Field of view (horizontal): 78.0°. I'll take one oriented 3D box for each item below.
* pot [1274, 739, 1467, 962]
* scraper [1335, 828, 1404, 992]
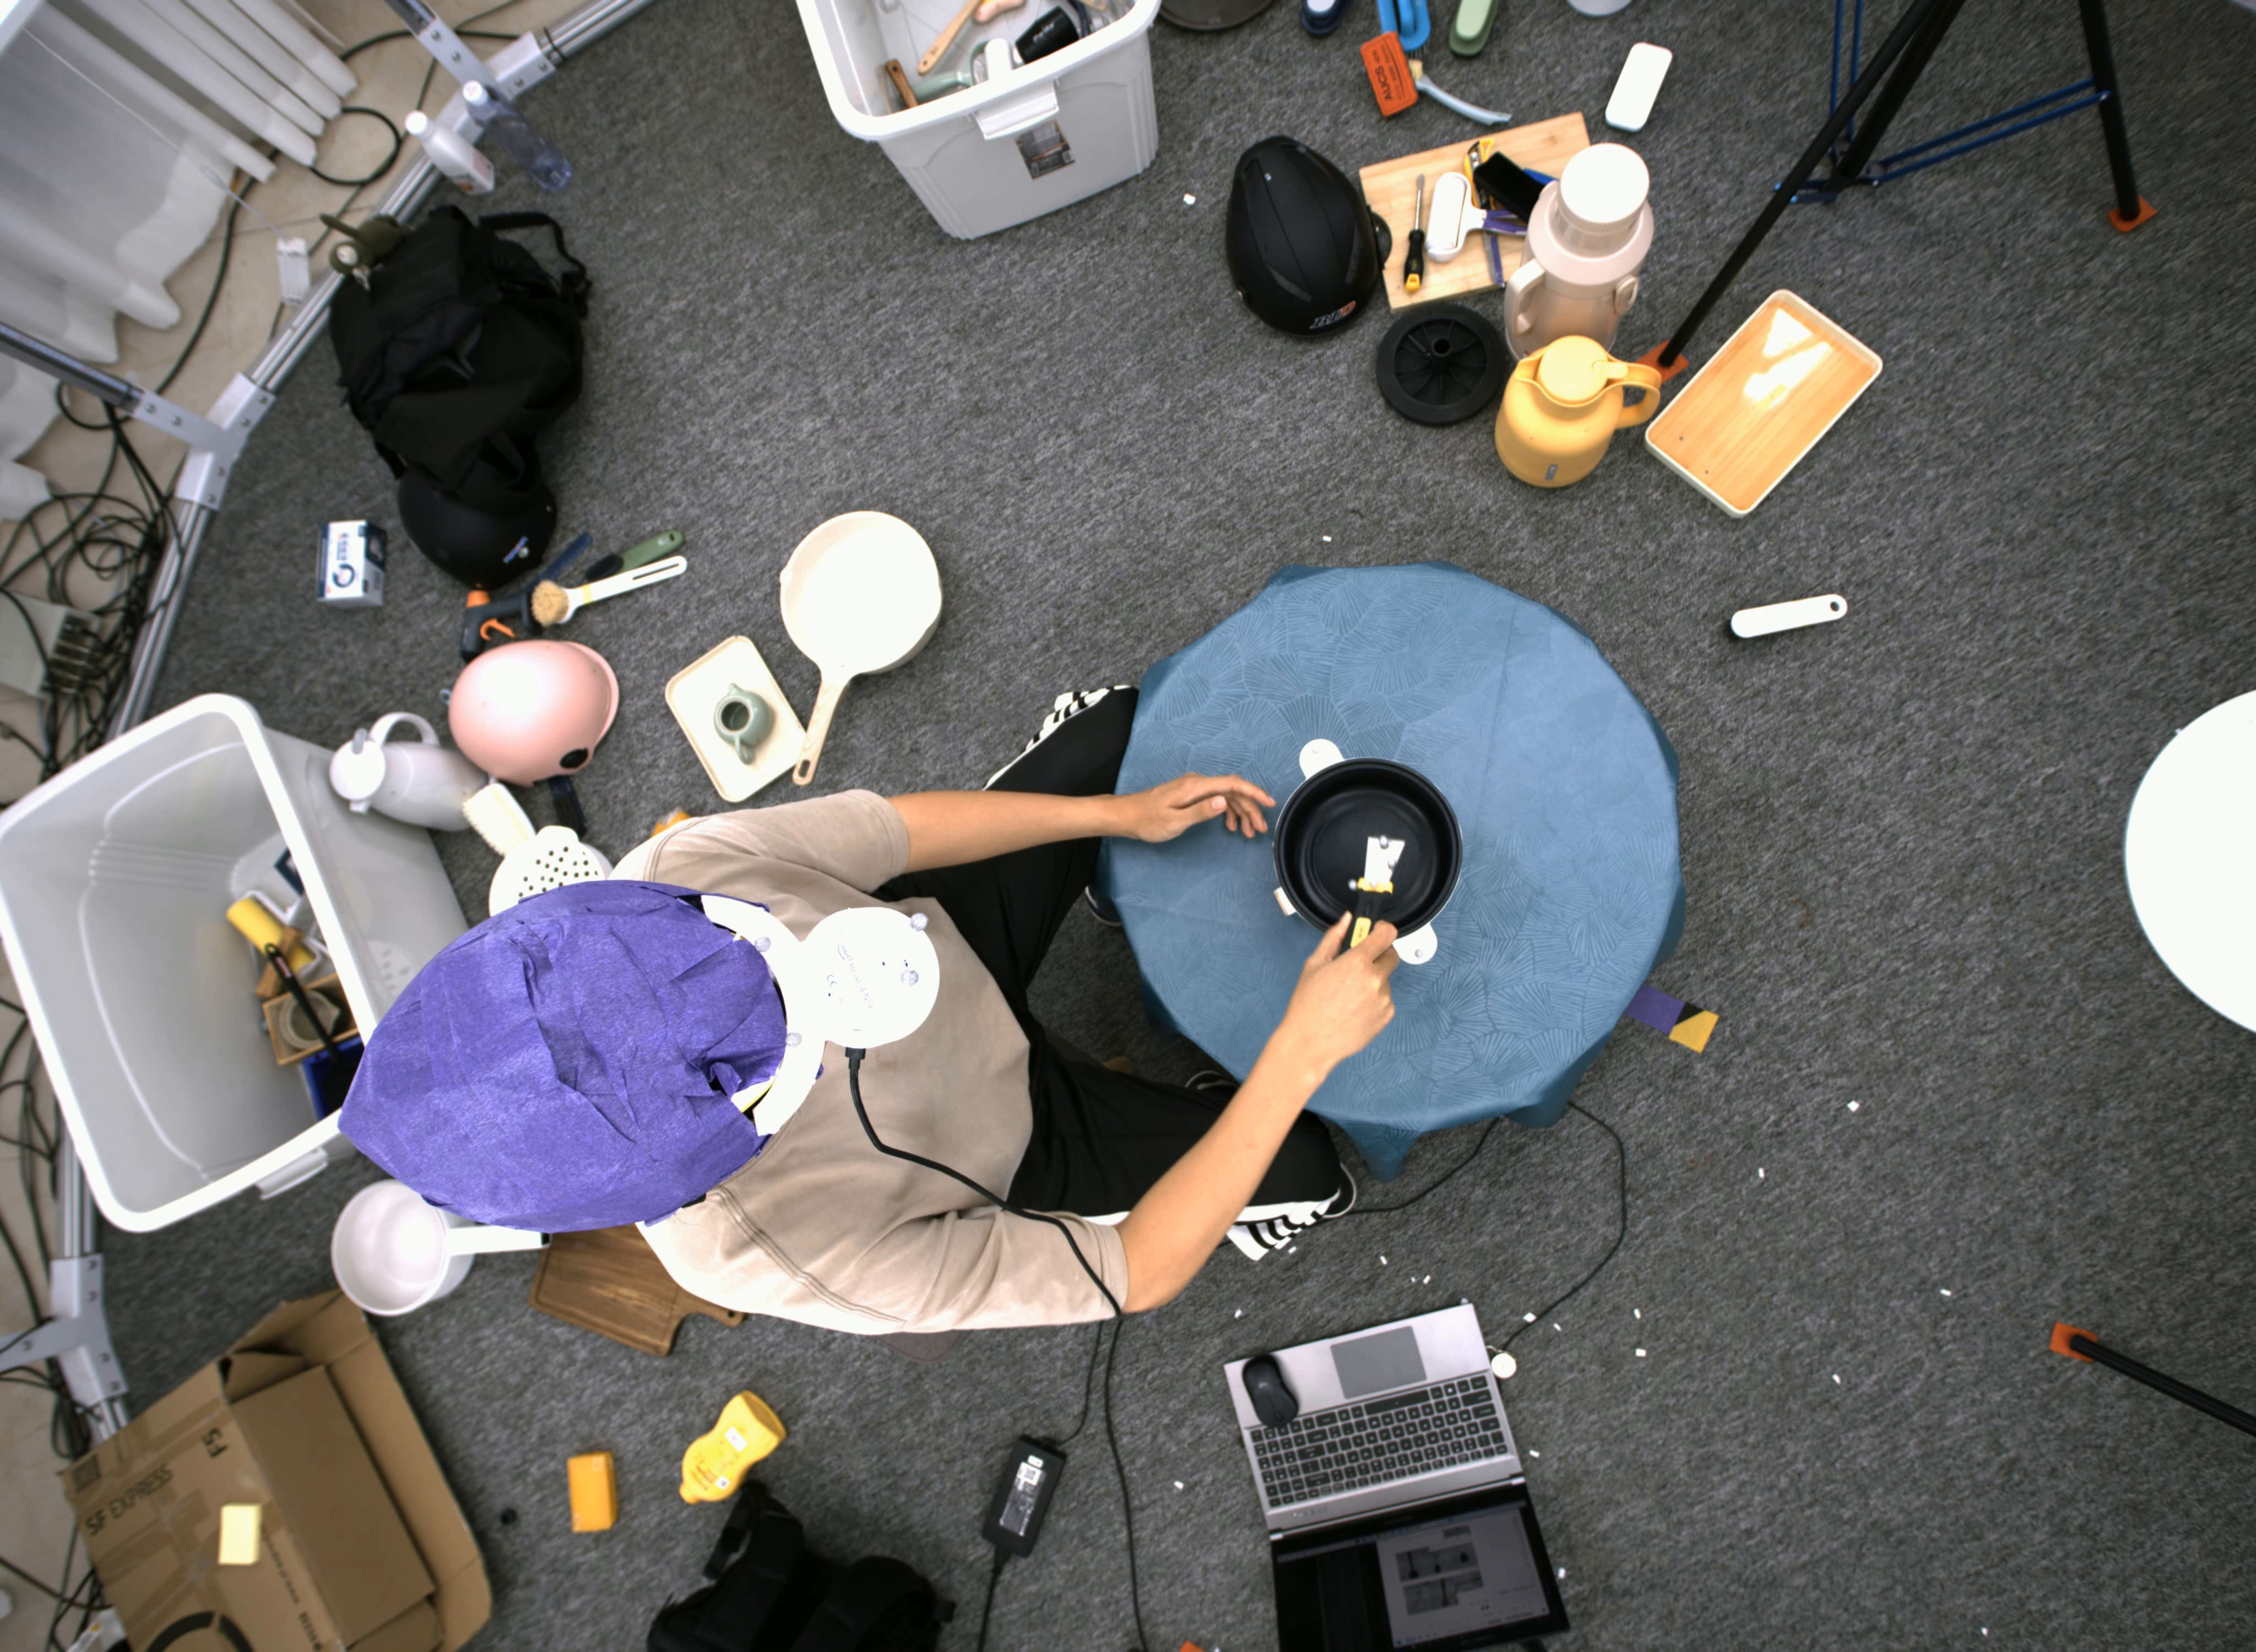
[{"bbox_3d":[0.238,0.032,1.399,0.191,0.143,0.238,-27,81,3],"label":"pot"},{"bbox_3d":[0.215,0.072,1.239,0.039,0.015,0.167,10,59,15],"label":"scraper"}]
